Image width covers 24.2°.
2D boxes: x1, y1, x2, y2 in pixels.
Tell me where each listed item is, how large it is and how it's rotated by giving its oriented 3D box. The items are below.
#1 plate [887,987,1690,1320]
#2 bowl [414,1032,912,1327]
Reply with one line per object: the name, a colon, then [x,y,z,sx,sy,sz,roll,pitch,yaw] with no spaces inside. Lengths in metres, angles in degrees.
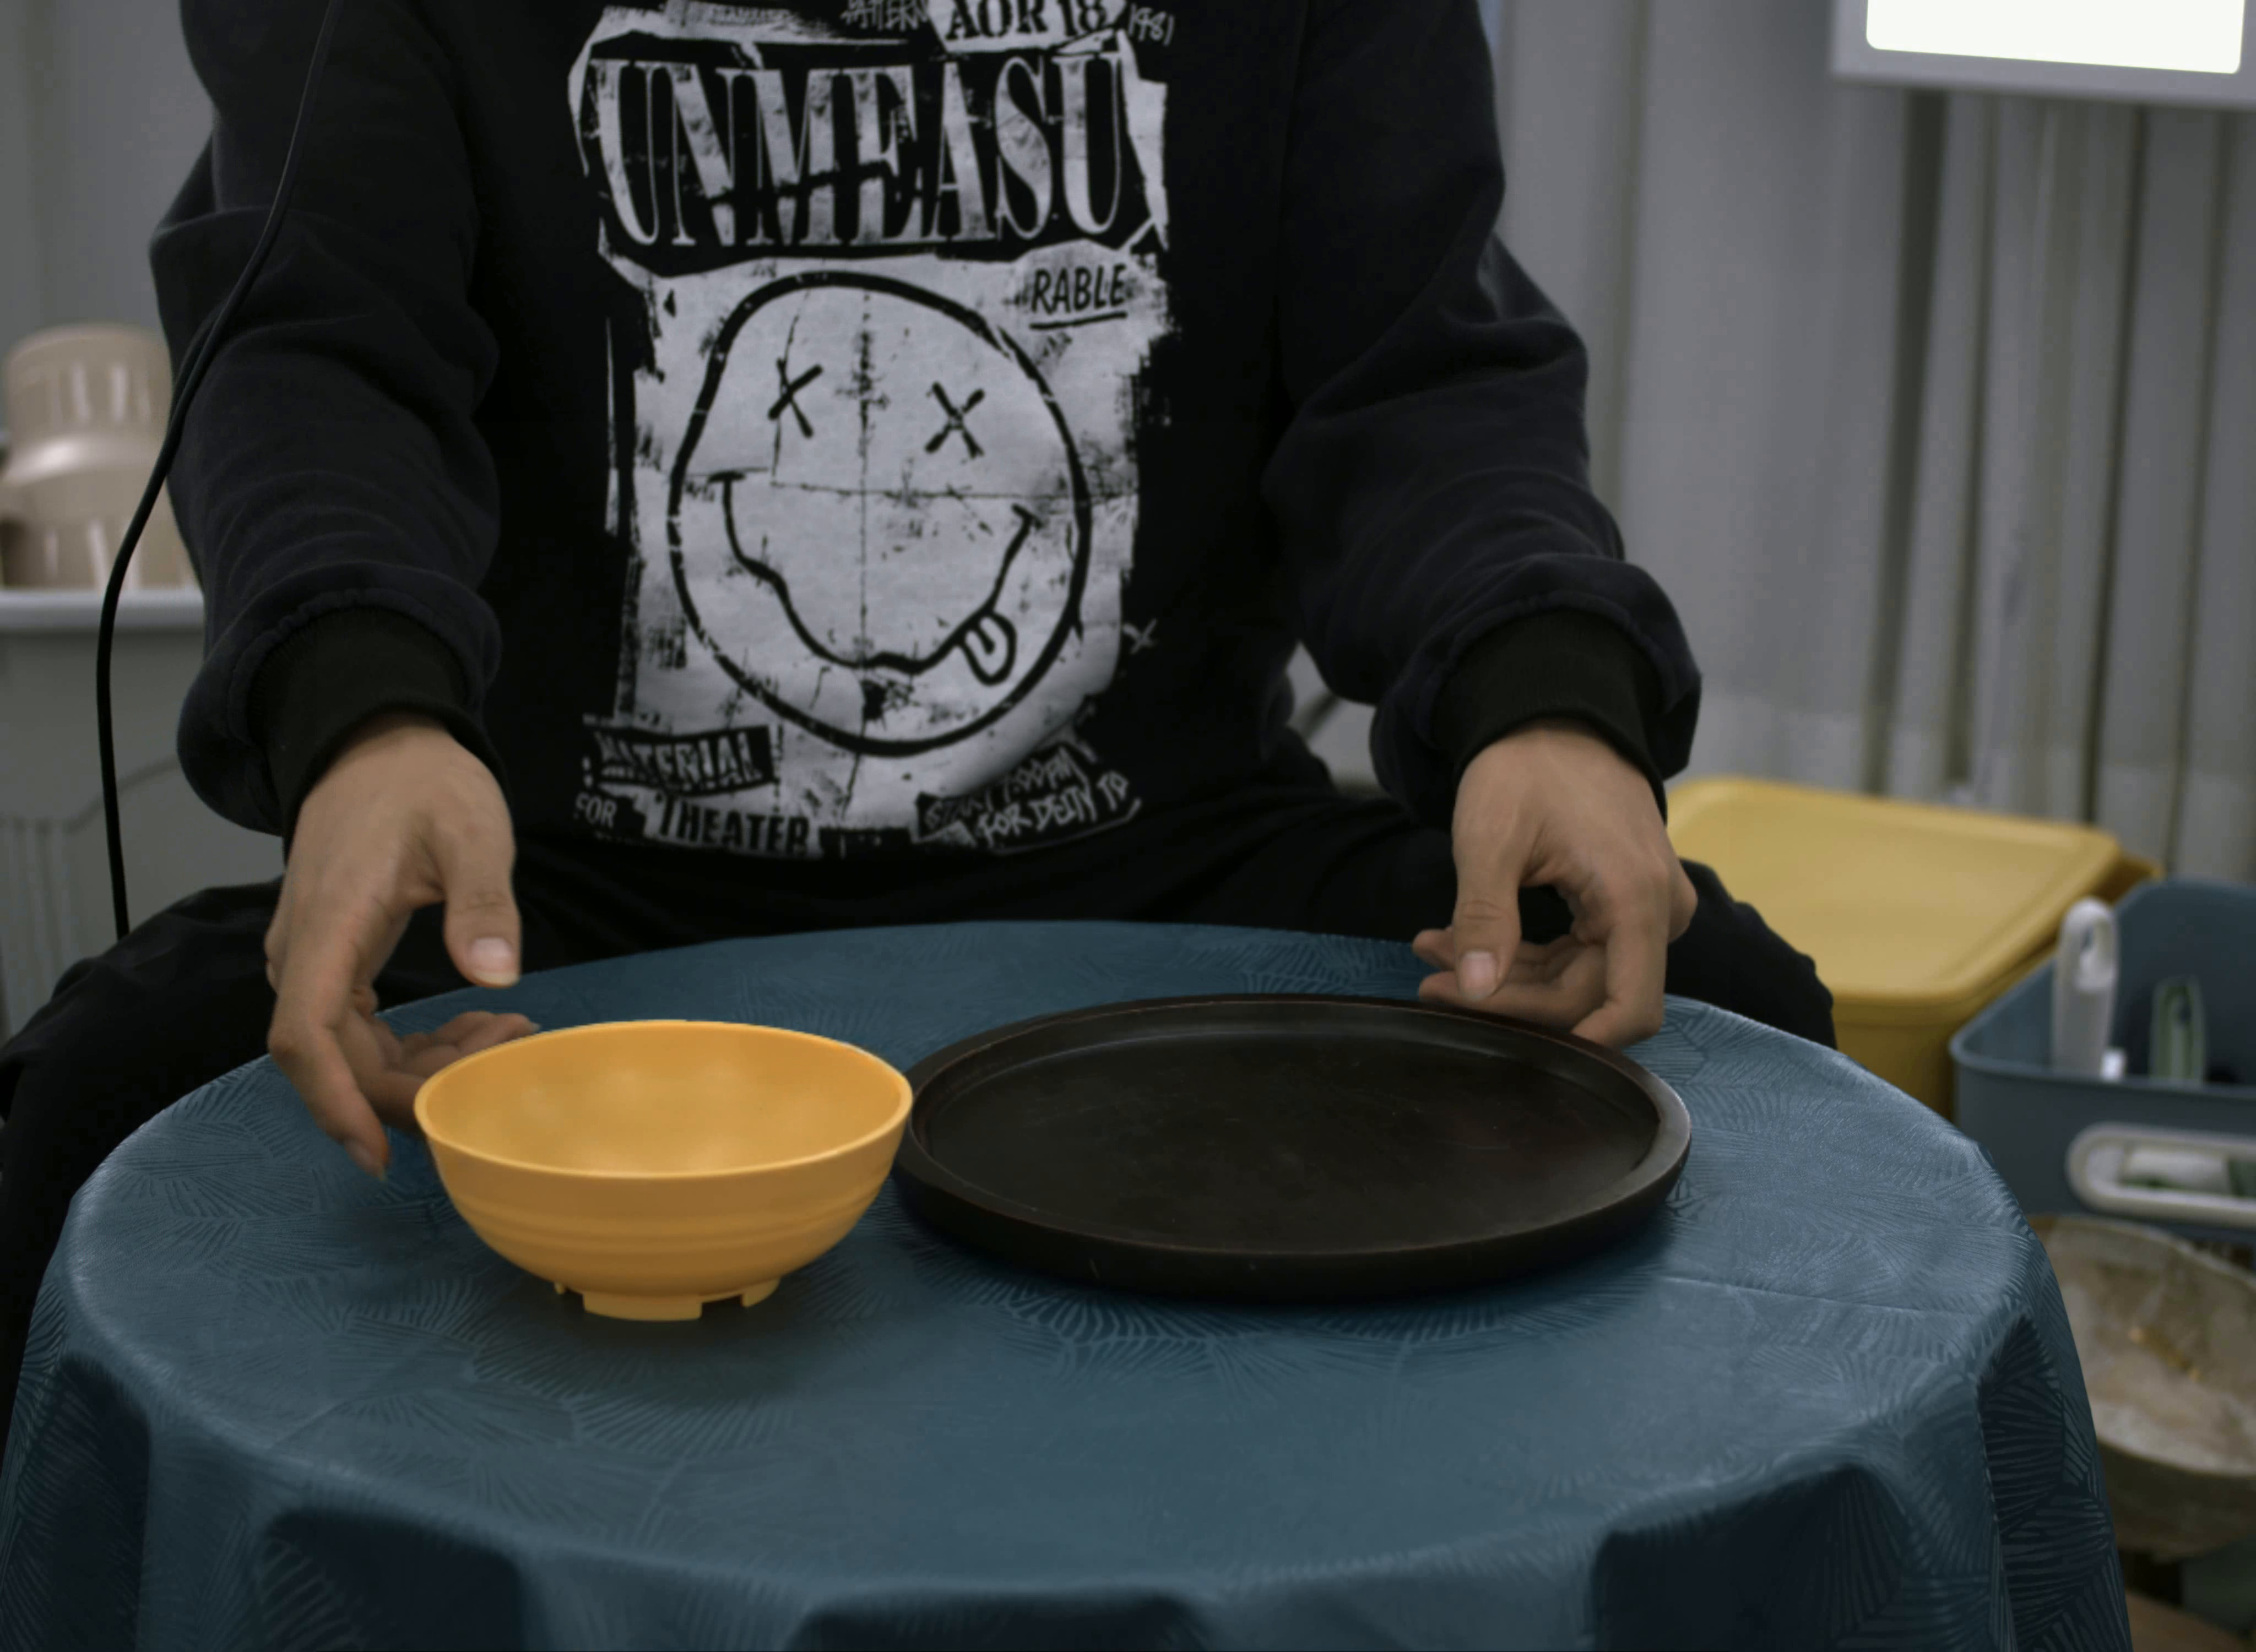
plate: [0.048,0.099,1.636,0.254,0.029,0.253,-1,16,1]
bowl: [-0.136,0.107,1.535,0.145,0.060,0.144,2,14,0]
